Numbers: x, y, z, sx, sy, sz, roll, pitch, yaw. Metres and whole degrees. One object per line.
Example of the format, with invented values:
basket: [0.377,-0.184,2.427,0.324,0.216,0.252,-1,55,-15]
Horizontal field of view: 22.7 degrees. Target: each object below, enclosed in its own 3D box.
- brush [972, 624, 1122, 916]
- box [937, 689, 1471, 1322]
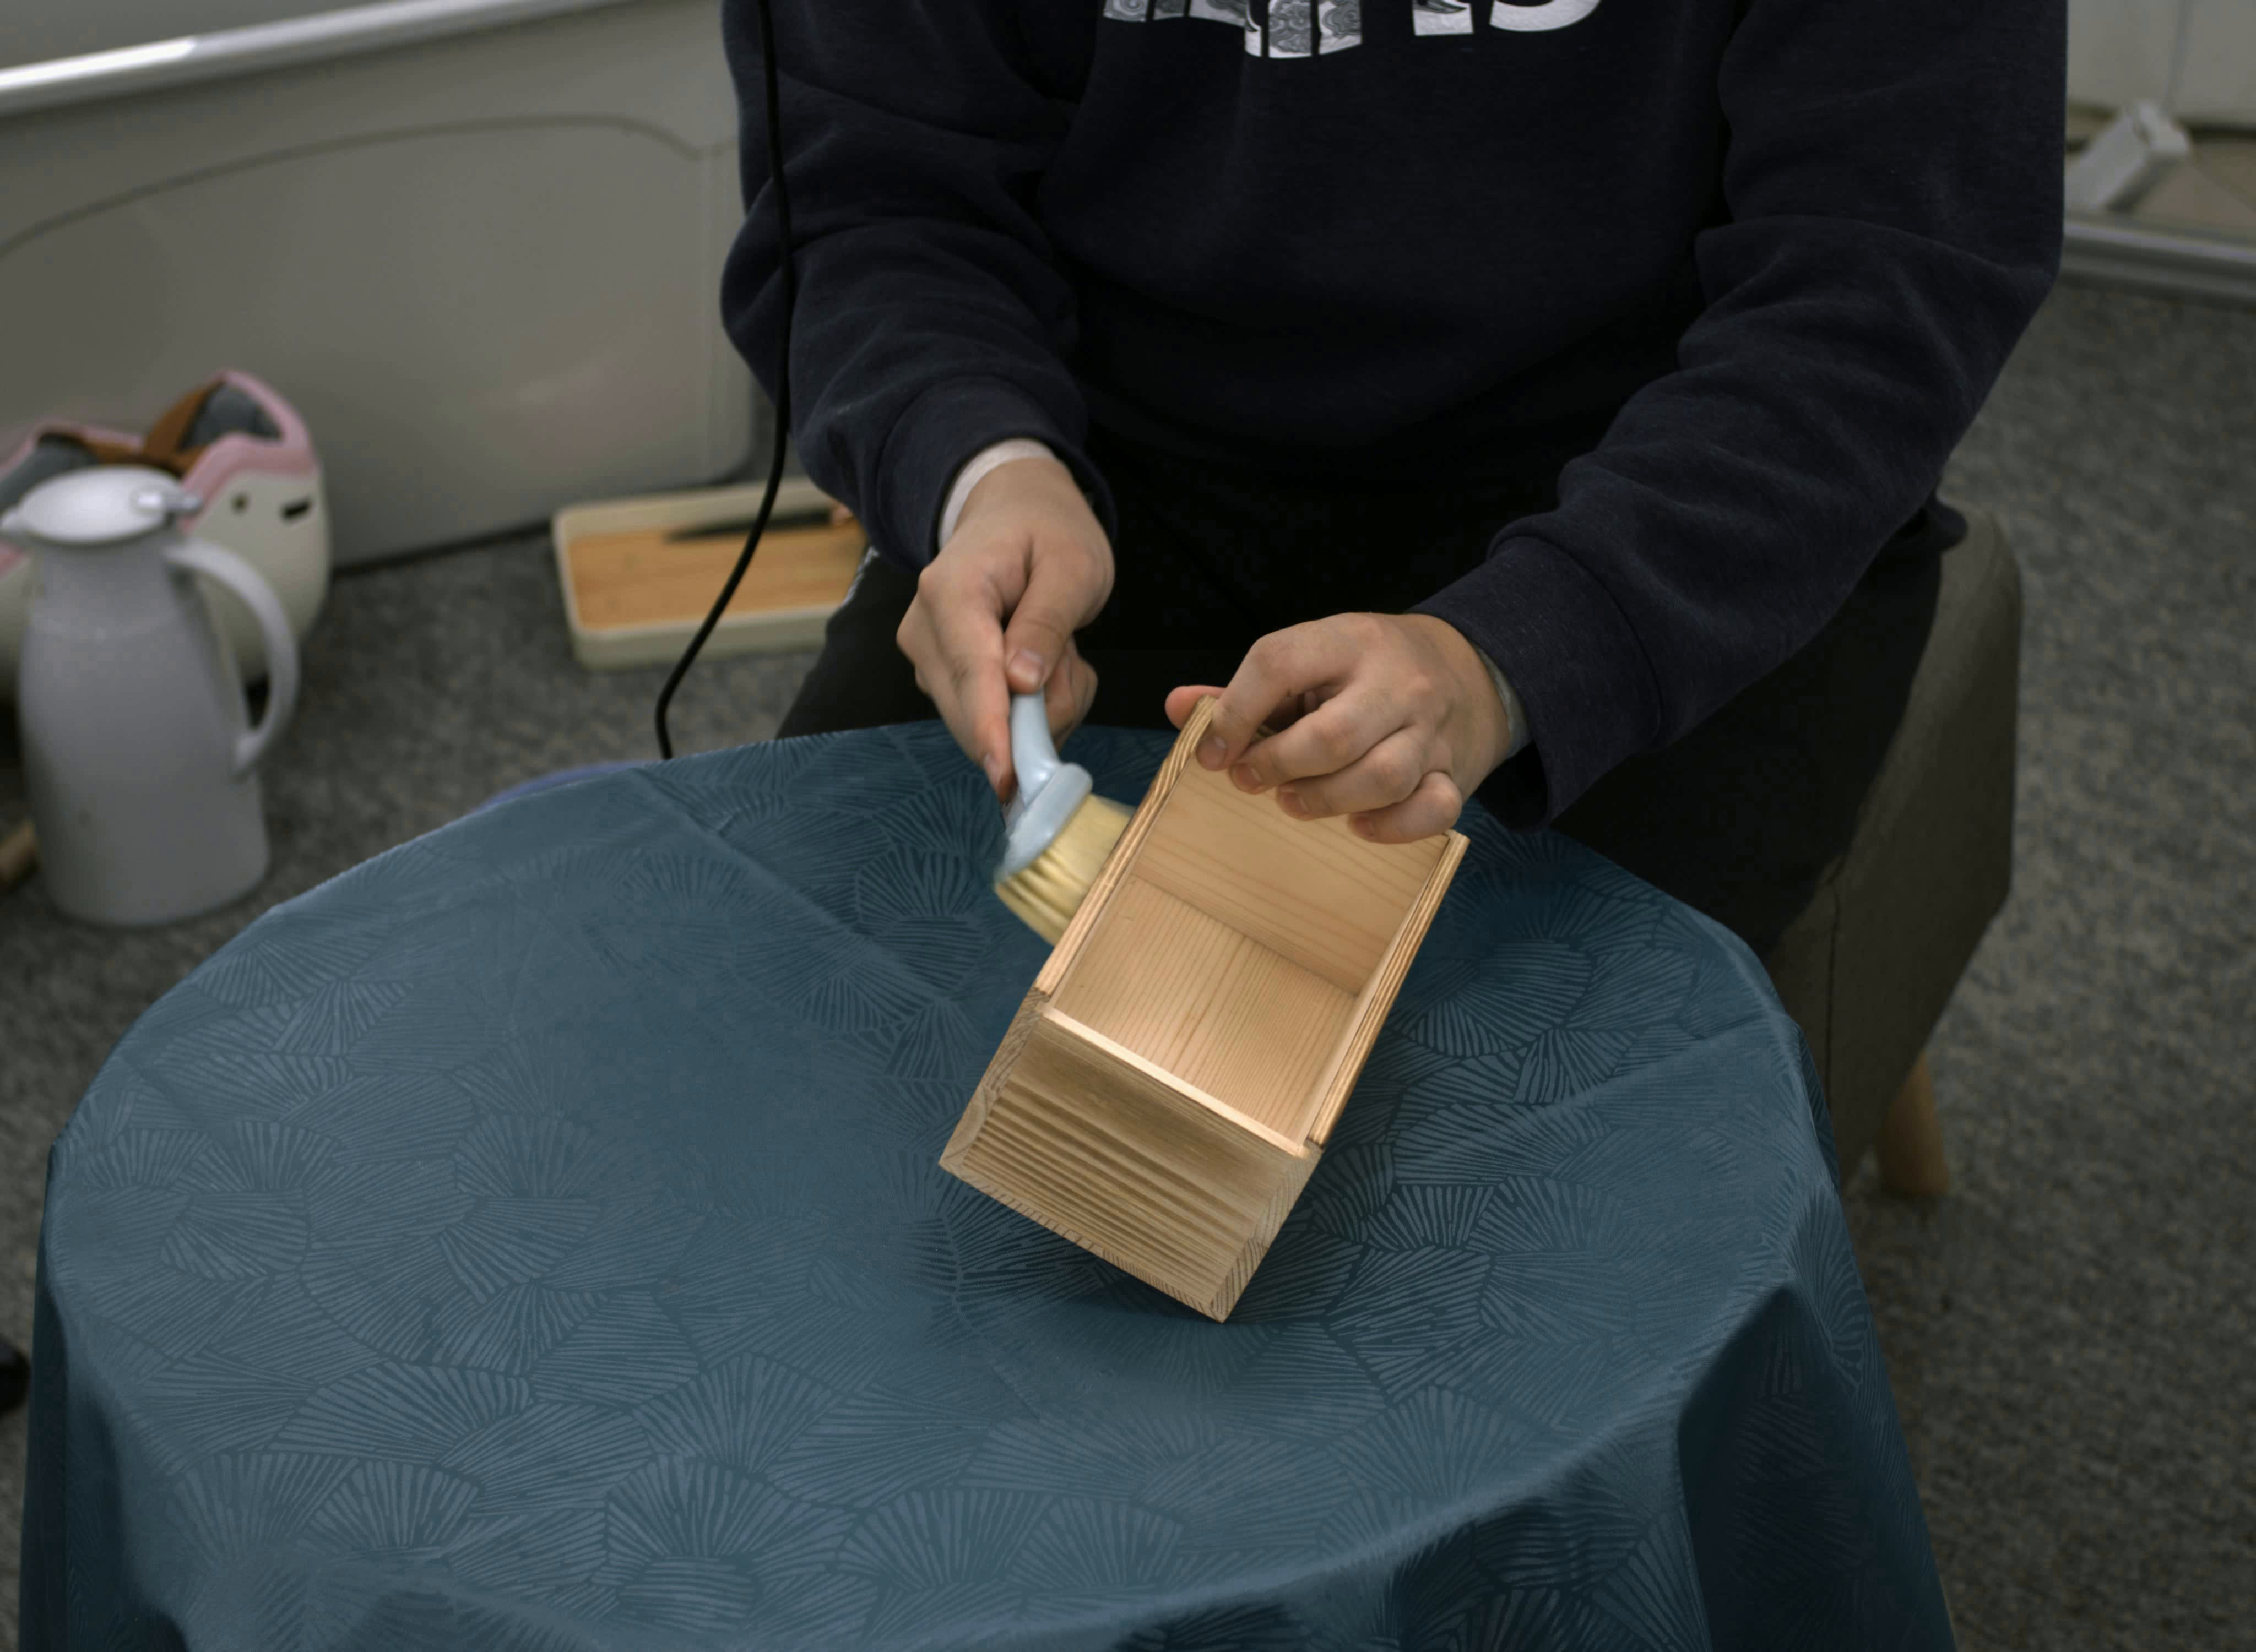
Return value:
brush: [-0.029,-0.022,1.944,0.049,0.037,0.231,29,17,-12]
box: [0.028,0.056,1.862,0.107,0.079,0.215,29,32,1]
